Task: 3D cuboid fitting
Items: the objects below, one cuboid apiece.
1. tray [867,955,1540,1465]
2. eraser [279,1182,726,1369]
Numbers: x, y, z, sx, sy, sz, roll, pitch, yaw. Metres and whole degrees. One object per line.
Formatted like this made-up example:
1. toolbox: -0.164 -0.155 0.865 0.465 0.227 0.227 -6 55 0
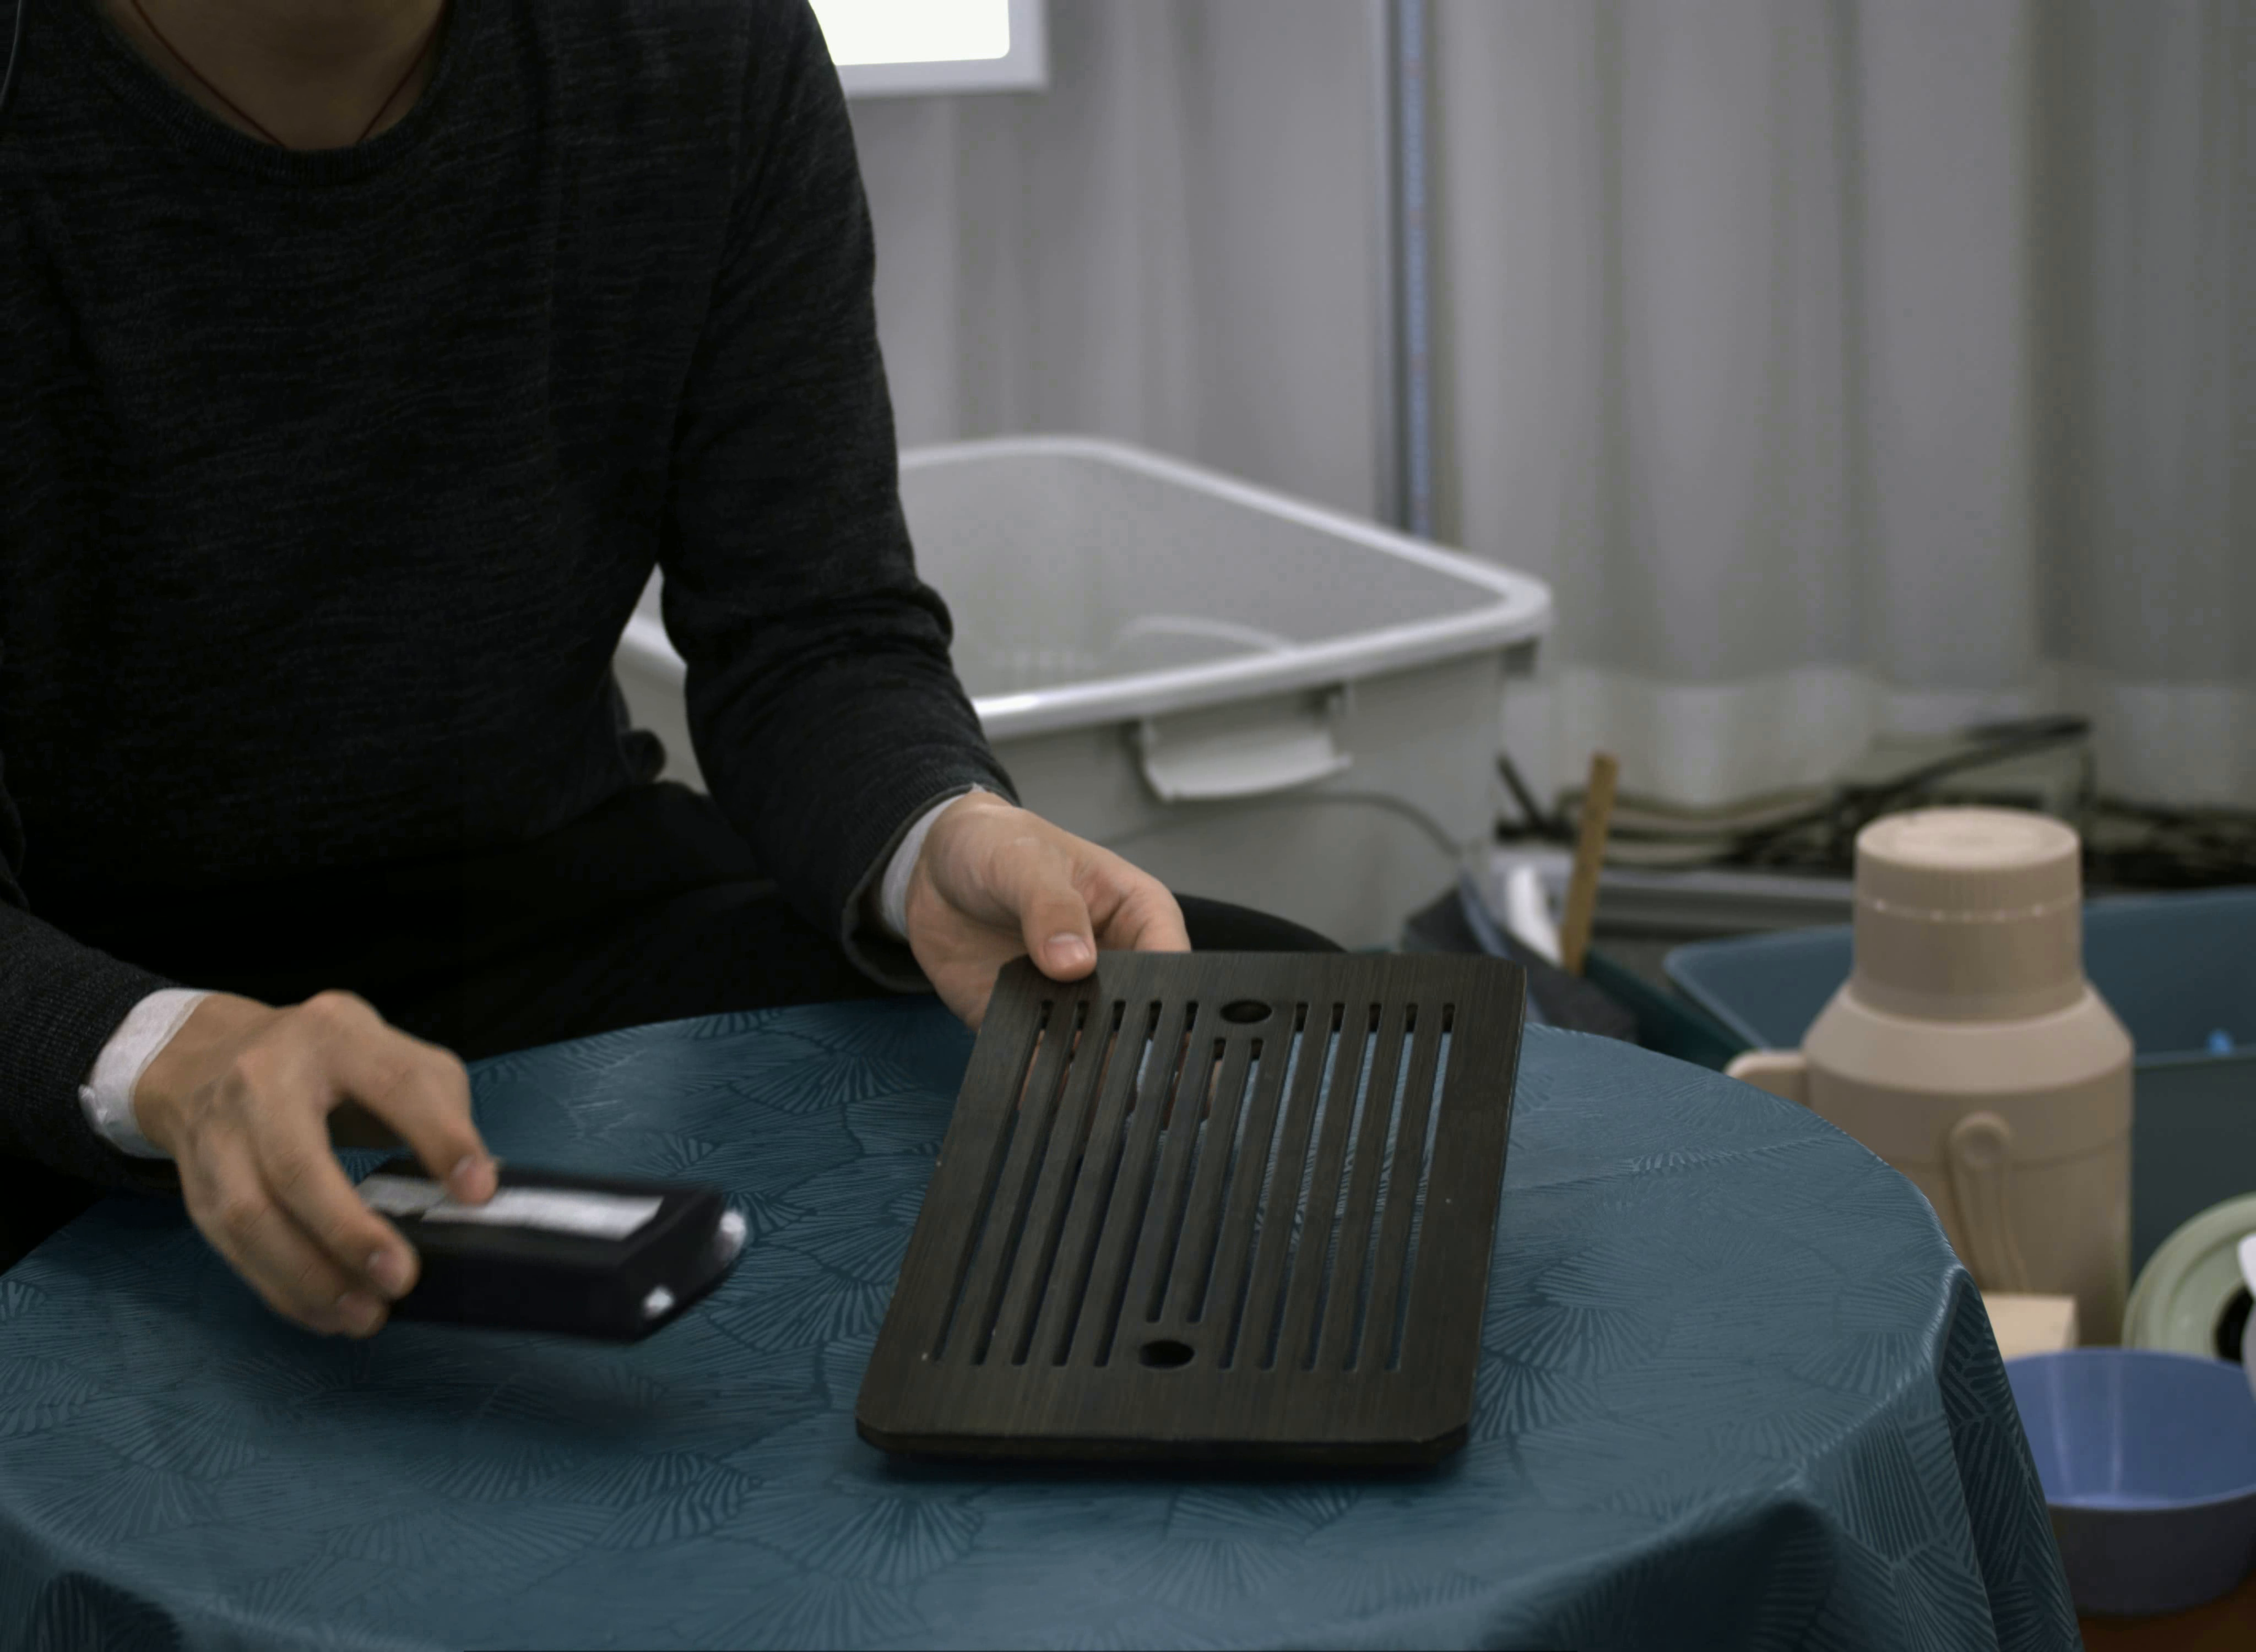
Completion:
1. tray: 0.030 0.110 1.610 0.170 0.018 0.309 0 23 8
2. eraser: -0.176 0.126 1.550 0.126 0.030 0.053 3 21 35
